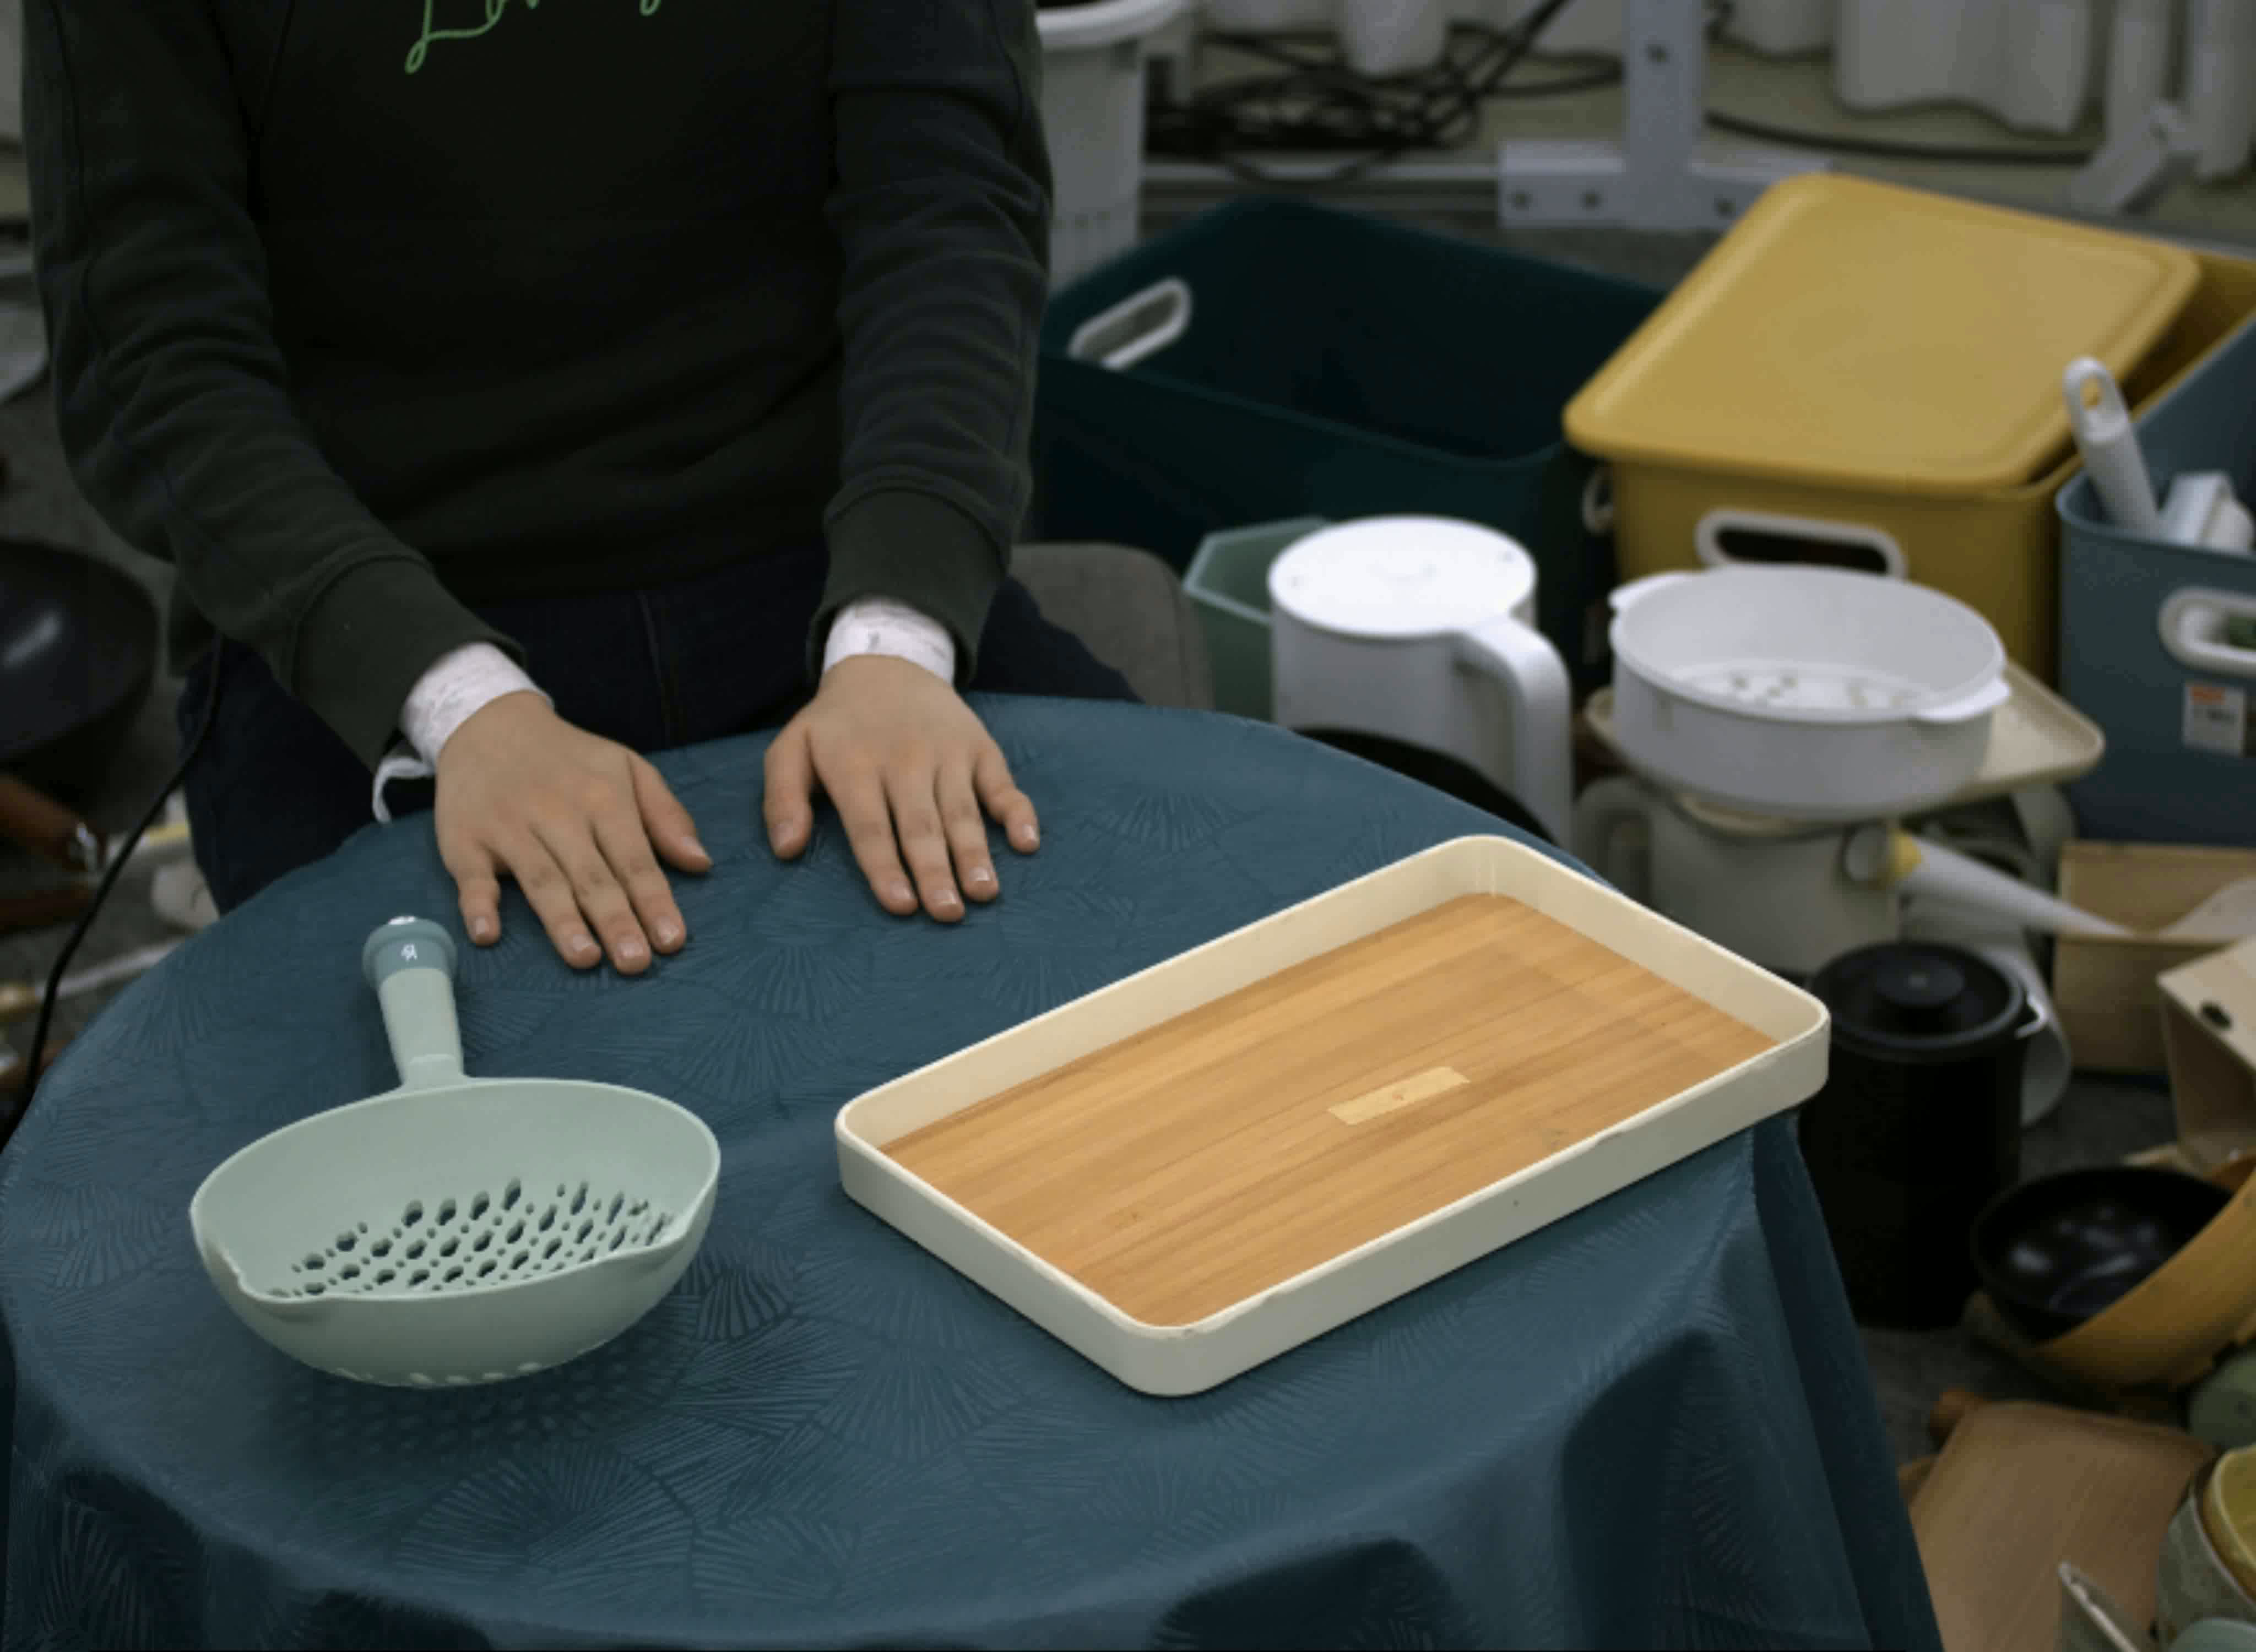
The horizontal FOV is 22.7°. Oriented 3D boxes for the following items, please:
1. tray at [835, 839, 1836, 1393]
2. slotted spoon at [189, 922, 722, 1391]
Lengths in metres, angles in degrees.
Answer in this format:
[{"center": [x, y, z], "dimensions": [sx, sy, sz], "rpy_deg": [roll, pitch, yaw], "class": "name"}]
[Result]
[{"center": [0.071, 0.092, 1.884], "dimensions": [0.303, 0.027, 0.192], "rpy_deg": [-21, 33, -32], "class": "tray"}, {"center": [-0.229, 0.094, 1.868], "dimensions": [0.169, 0.074, 0.363], "rpy_deg": [-7, 27, -9], "class": "slotted spoon"}]
